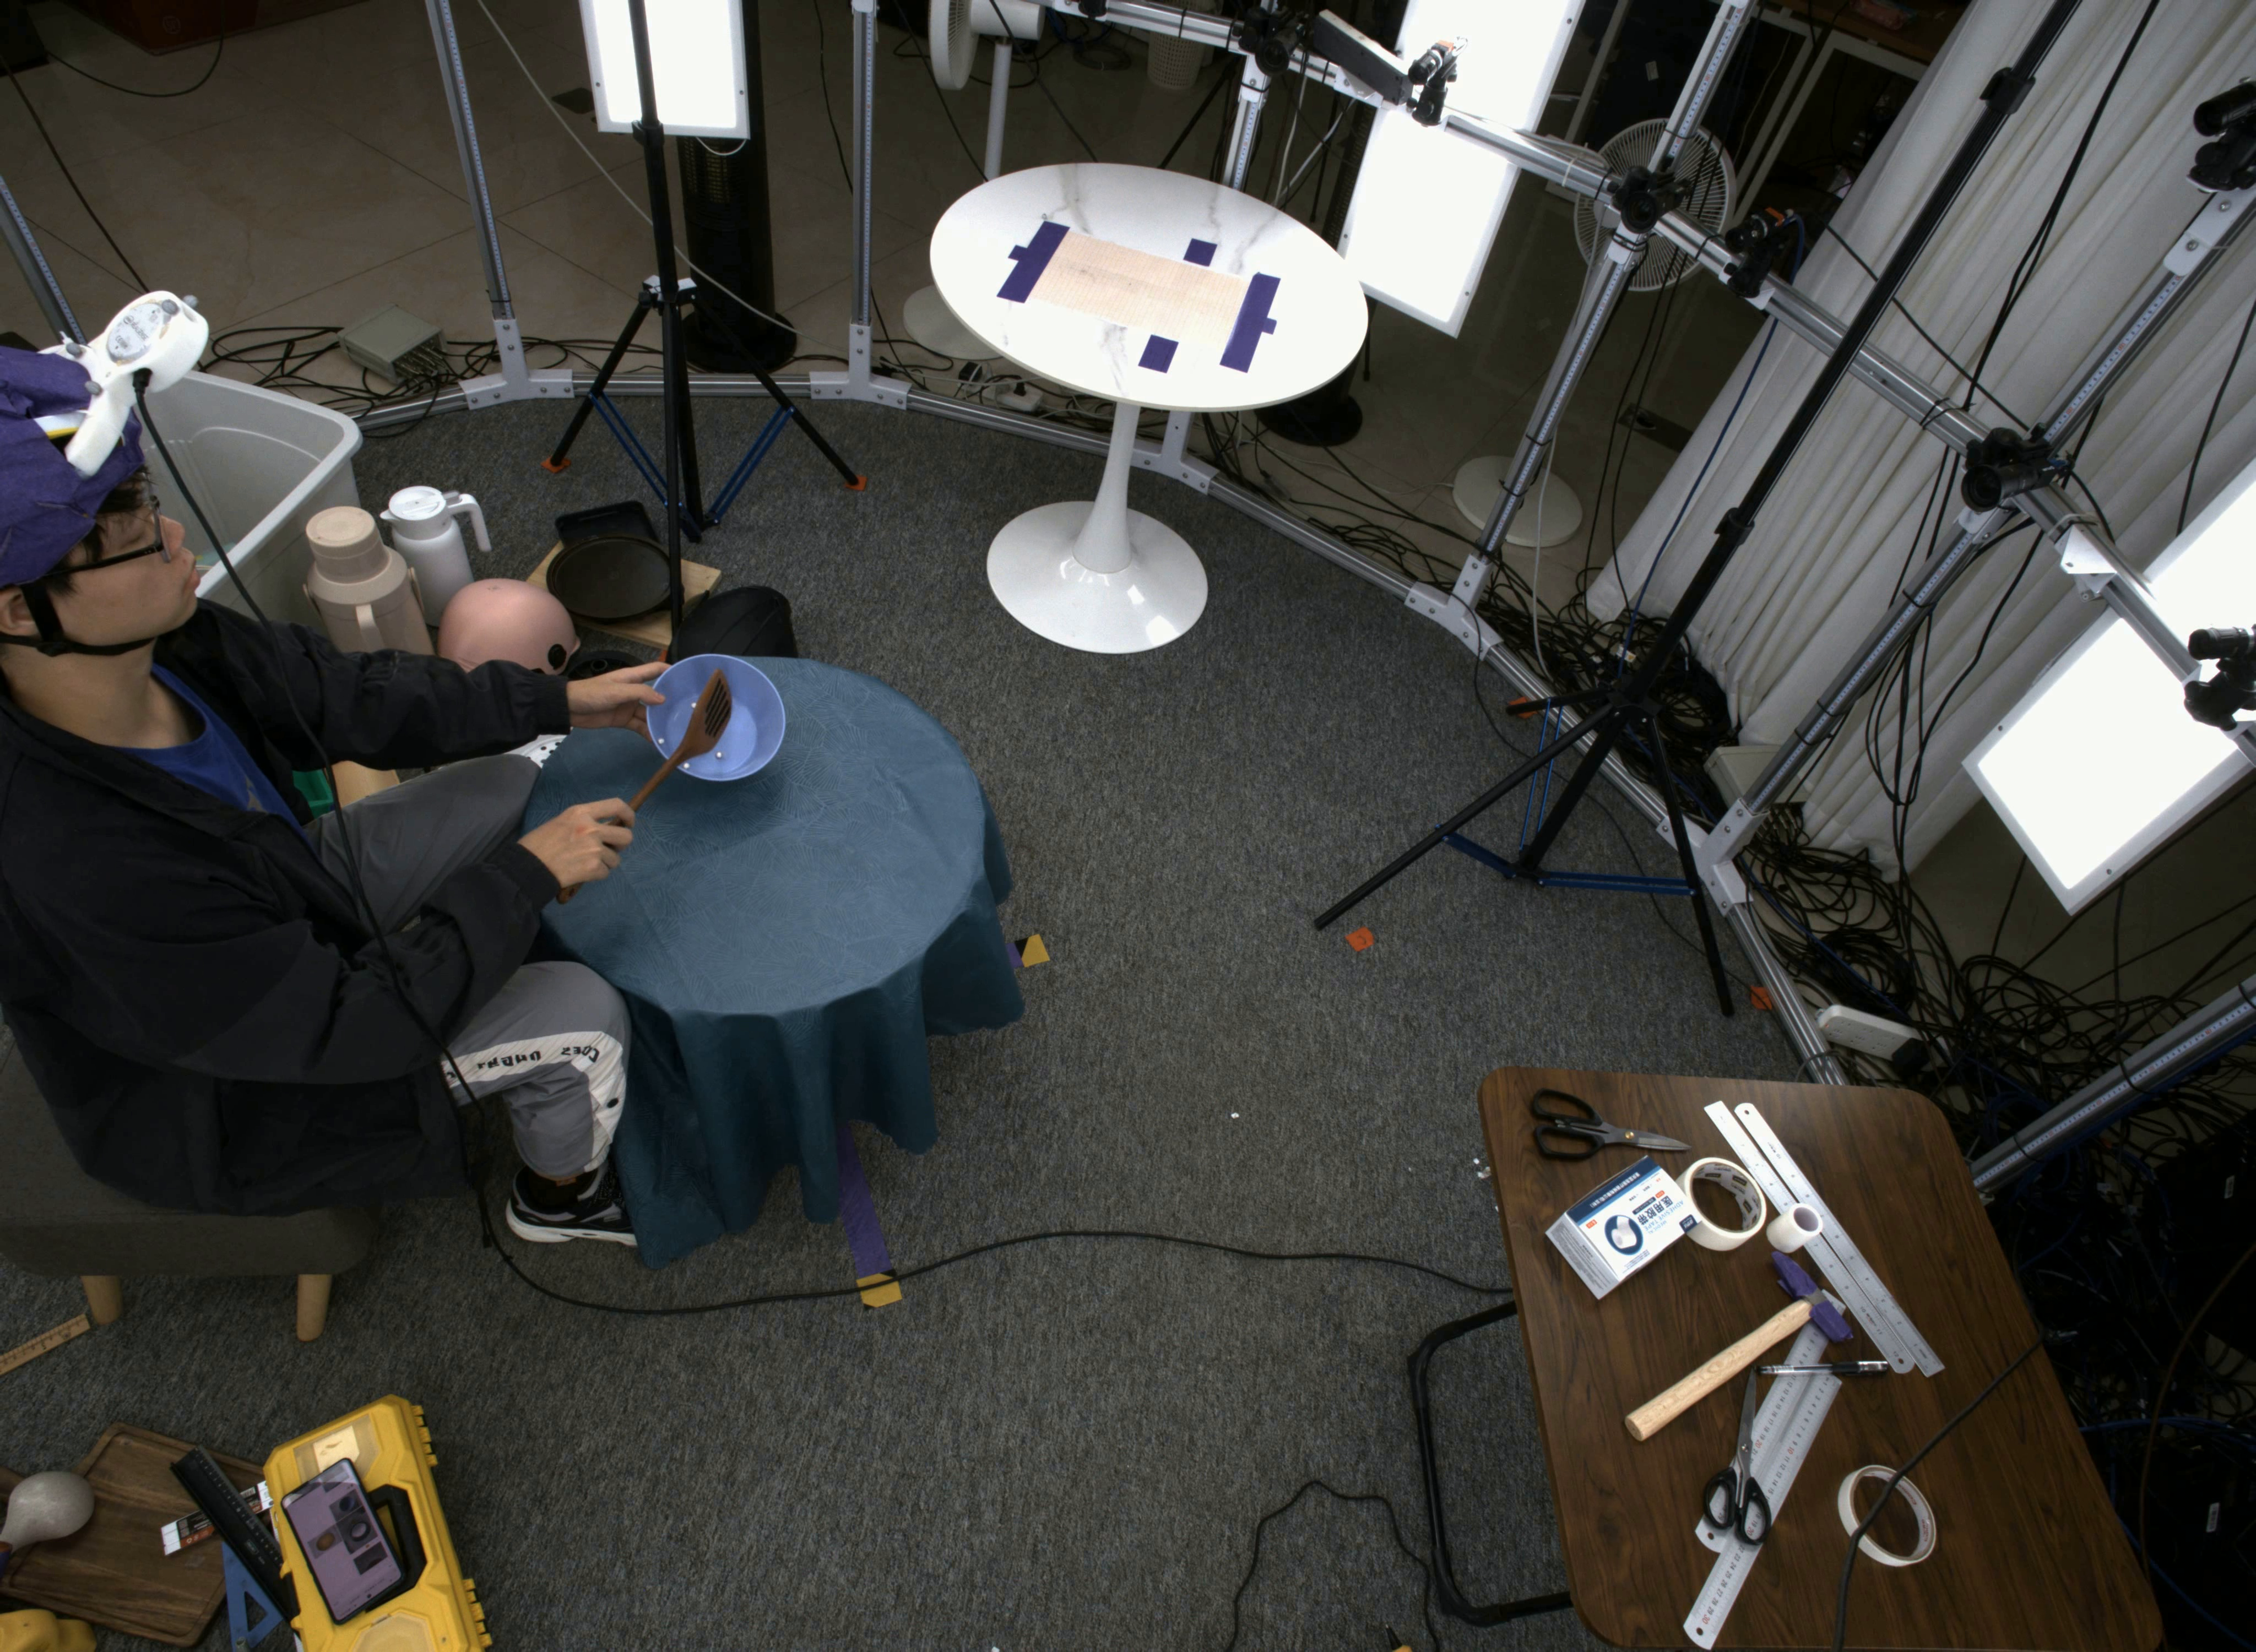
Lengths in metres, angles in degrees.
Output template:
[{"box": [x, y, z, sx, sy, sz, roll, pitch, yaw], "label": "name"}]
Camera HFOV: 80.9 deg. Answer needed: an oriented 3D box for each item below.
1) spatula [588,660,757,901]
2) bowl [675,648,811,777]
[{"box": [-0.555, -0.057, 1.583, 0.023, 0.088, 0.384, 16, 52, 14], "label": "spatula"}, {"box": [-0.515, -0.141, 1.717, 0.178, 0.070, 0.175, 8, 73, -23], "label": "bowl"}]
